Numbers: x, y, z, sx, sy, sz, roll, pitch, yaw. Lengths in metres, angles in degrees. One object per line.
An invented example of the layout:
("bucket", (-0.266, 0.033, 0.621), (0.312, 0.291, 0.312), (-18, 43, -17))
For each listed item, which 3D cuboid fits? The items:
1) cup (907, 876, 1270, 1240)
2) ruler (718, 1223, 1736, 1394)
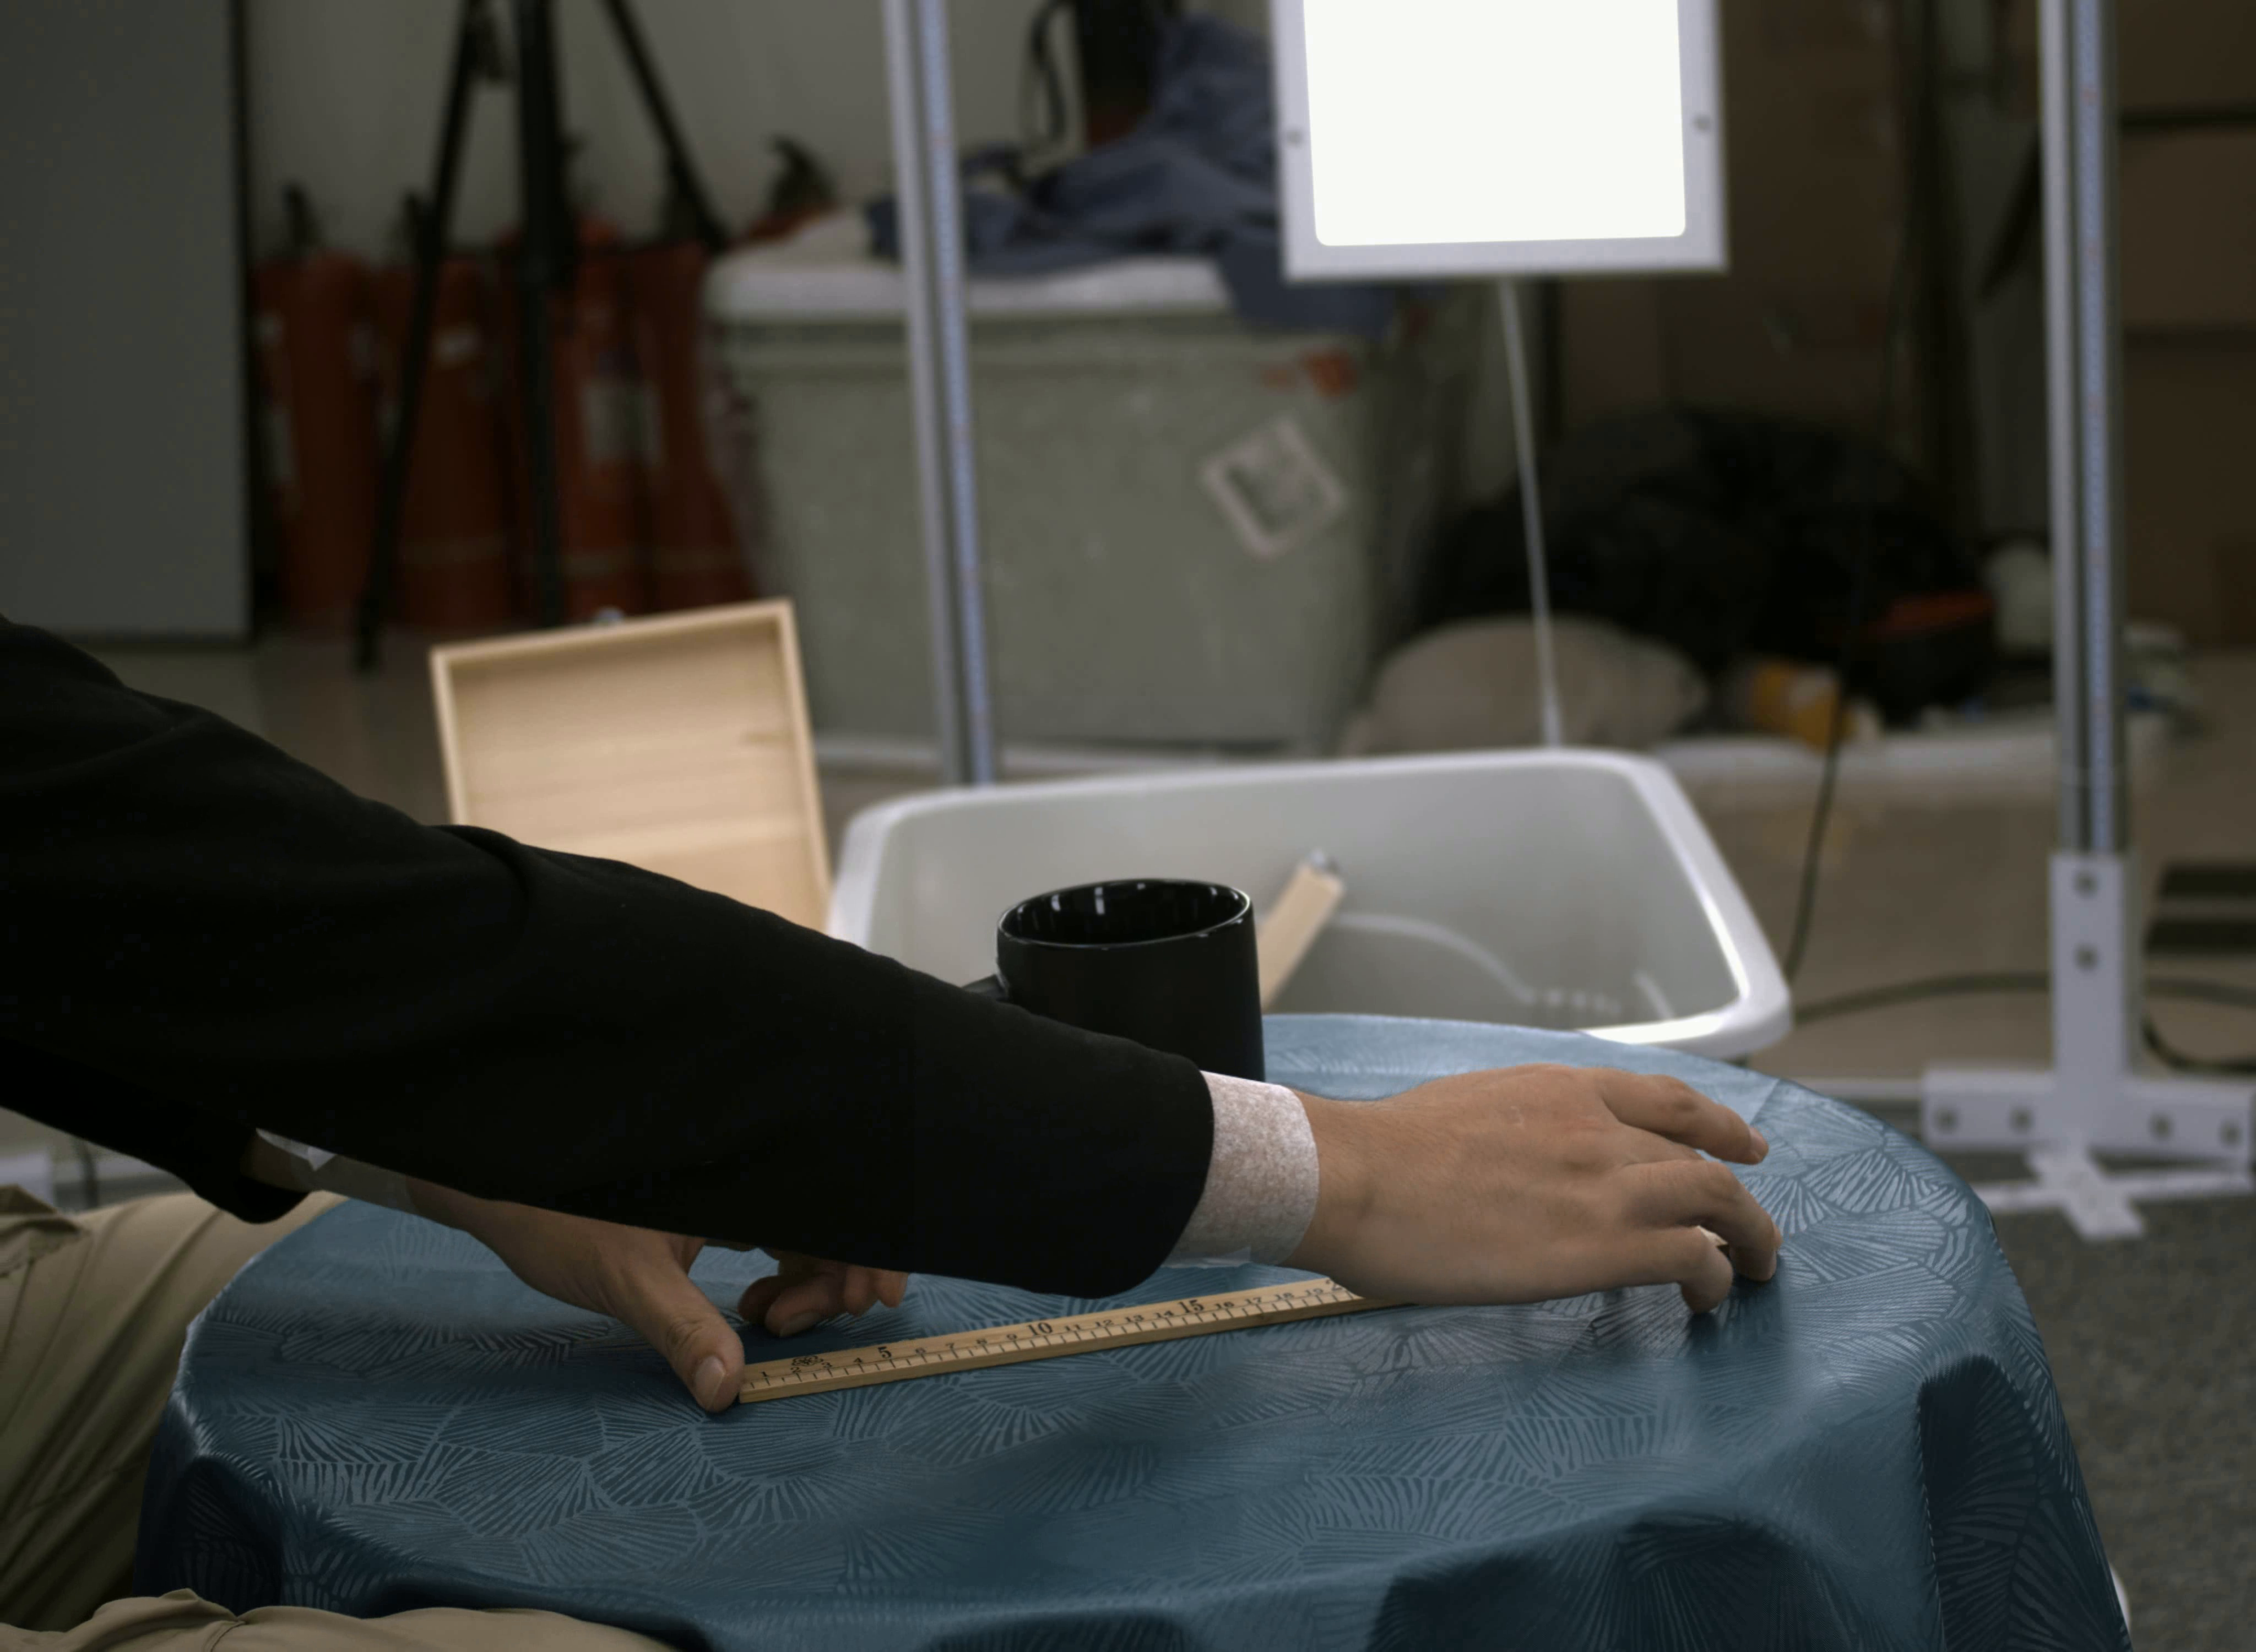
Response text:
("cup", (-0.014, 0.081, 1.876), (0.122, 0.105, 0.089), (-8, 16, -10))
("ruler", (0.034, 0.152, 1.760), (0.328, 0.022, 0.027), (-6, 10, -8))
